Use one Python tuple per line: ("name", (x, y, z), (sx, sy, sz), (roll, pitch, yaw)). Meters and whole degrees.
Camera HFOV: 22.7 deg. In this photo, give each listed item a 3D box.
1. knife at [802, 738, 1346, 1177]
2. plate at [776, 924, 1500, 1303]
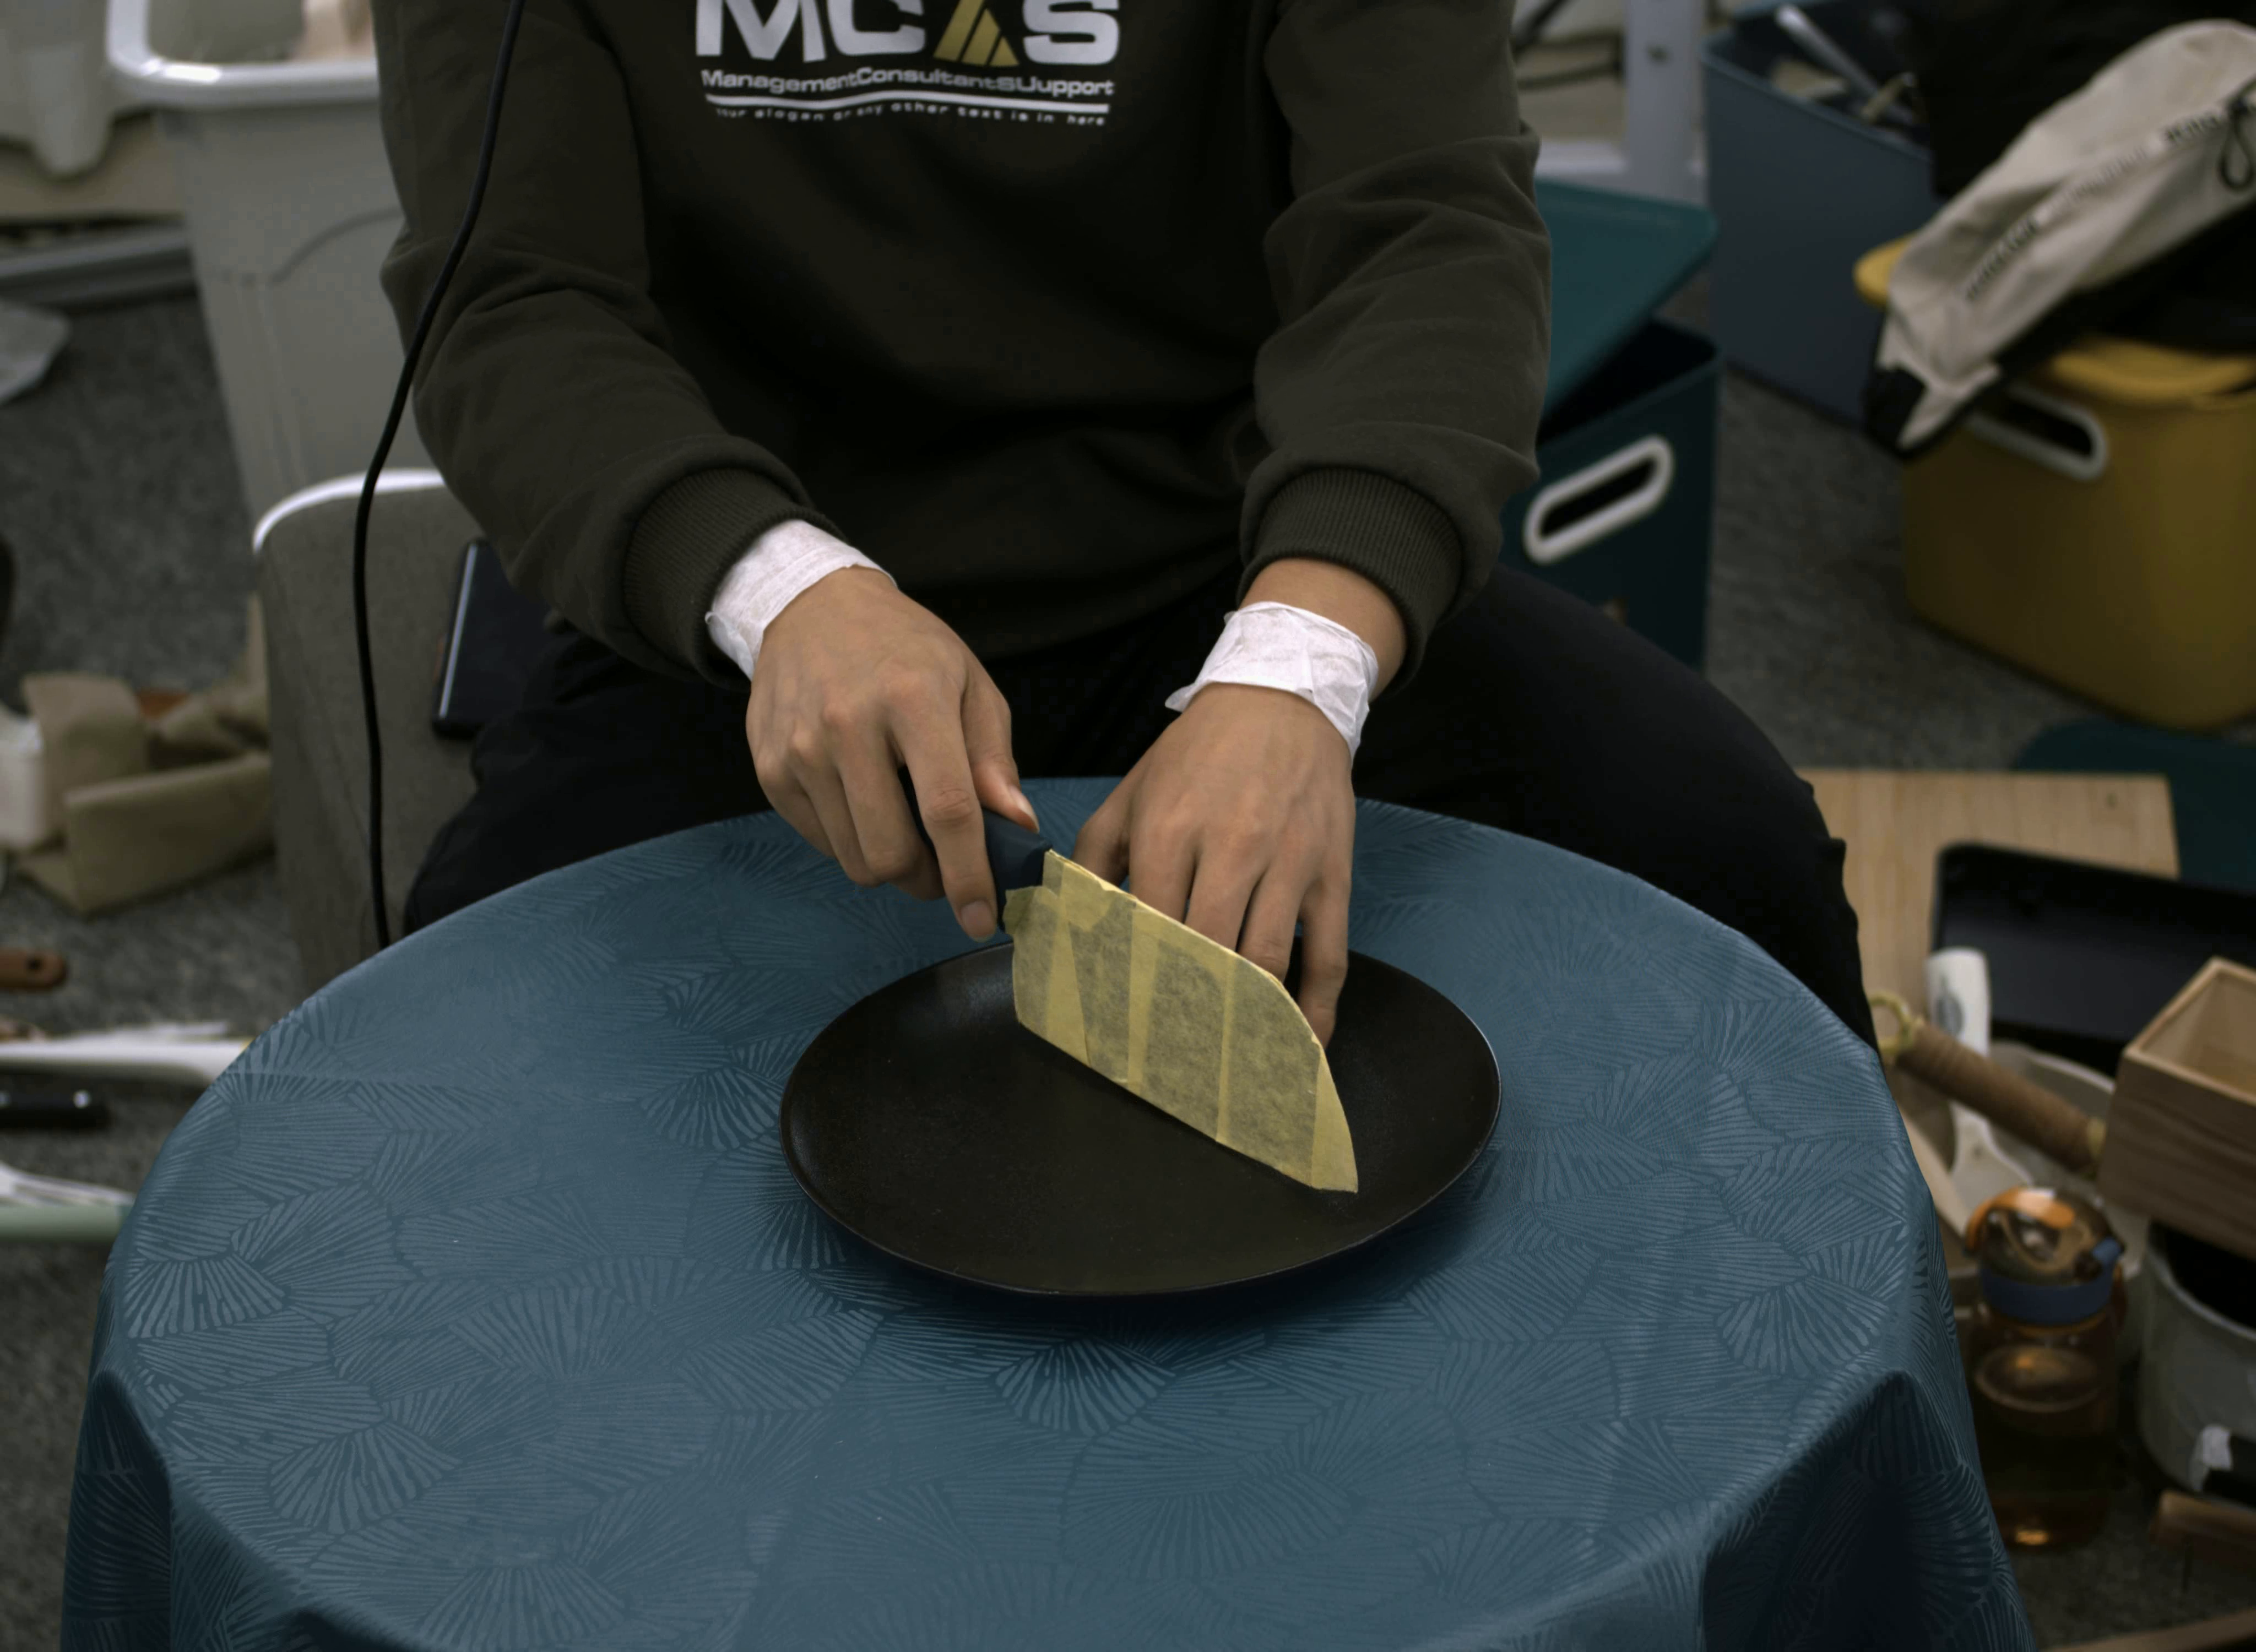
("knife", (-0.020, 0.042, 1.908), (0.027, 0.080, 0.290), (-14, 33, -38))
("plate", (0.003, 0.100, 1.878), (0.243, 0.023, 0.248), (-2, 27, 1))
